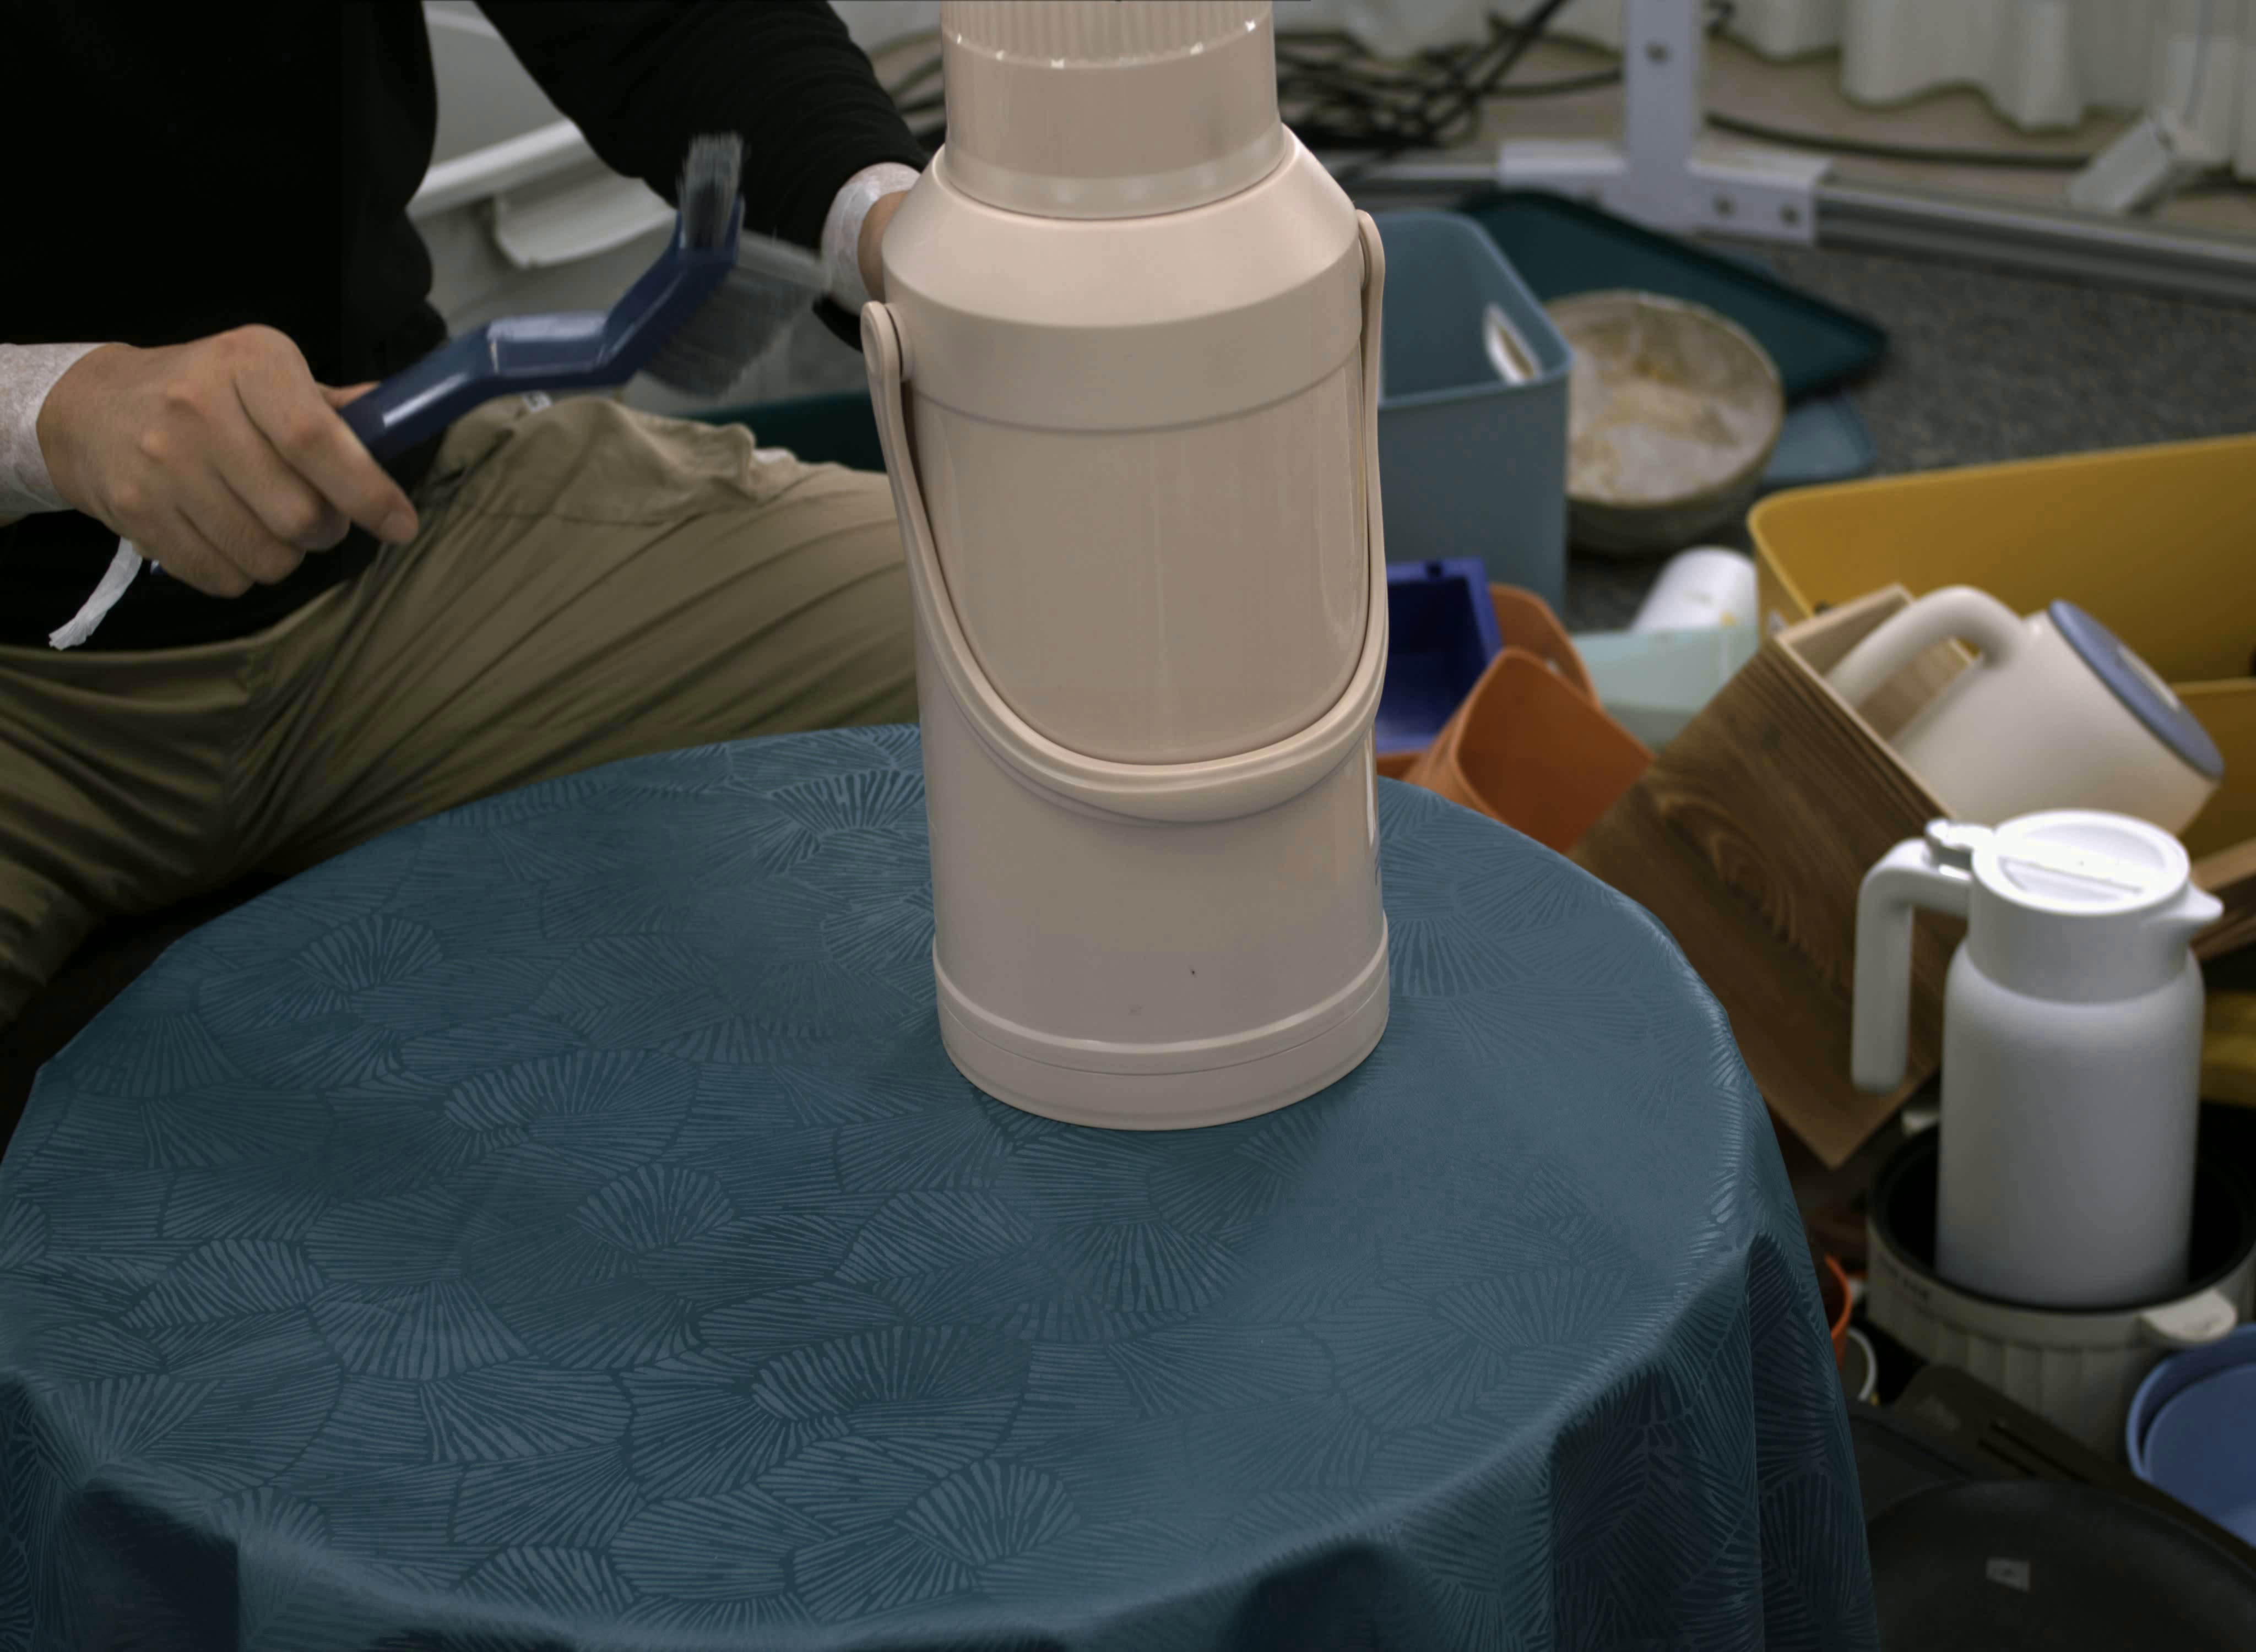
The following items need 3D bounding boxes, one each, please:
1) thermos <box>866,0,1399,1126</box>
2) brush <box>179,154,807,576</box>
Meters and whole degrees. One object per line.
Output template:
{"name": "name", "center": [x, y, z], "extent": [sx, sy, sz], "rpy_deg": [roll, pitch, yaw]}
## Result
{"name": "thermos", "center": [0.001, -0.116, 1.894], "extent": [0.176, 0.402, 0.208], "rpy_deg": [-14, 28, -17]}
{"name": "brush", "center": [-0.217, -0.142, 1.780], "extent": [0.269, 0.095, 0.034], "rpy_deg": [-16, 50, 30]}
